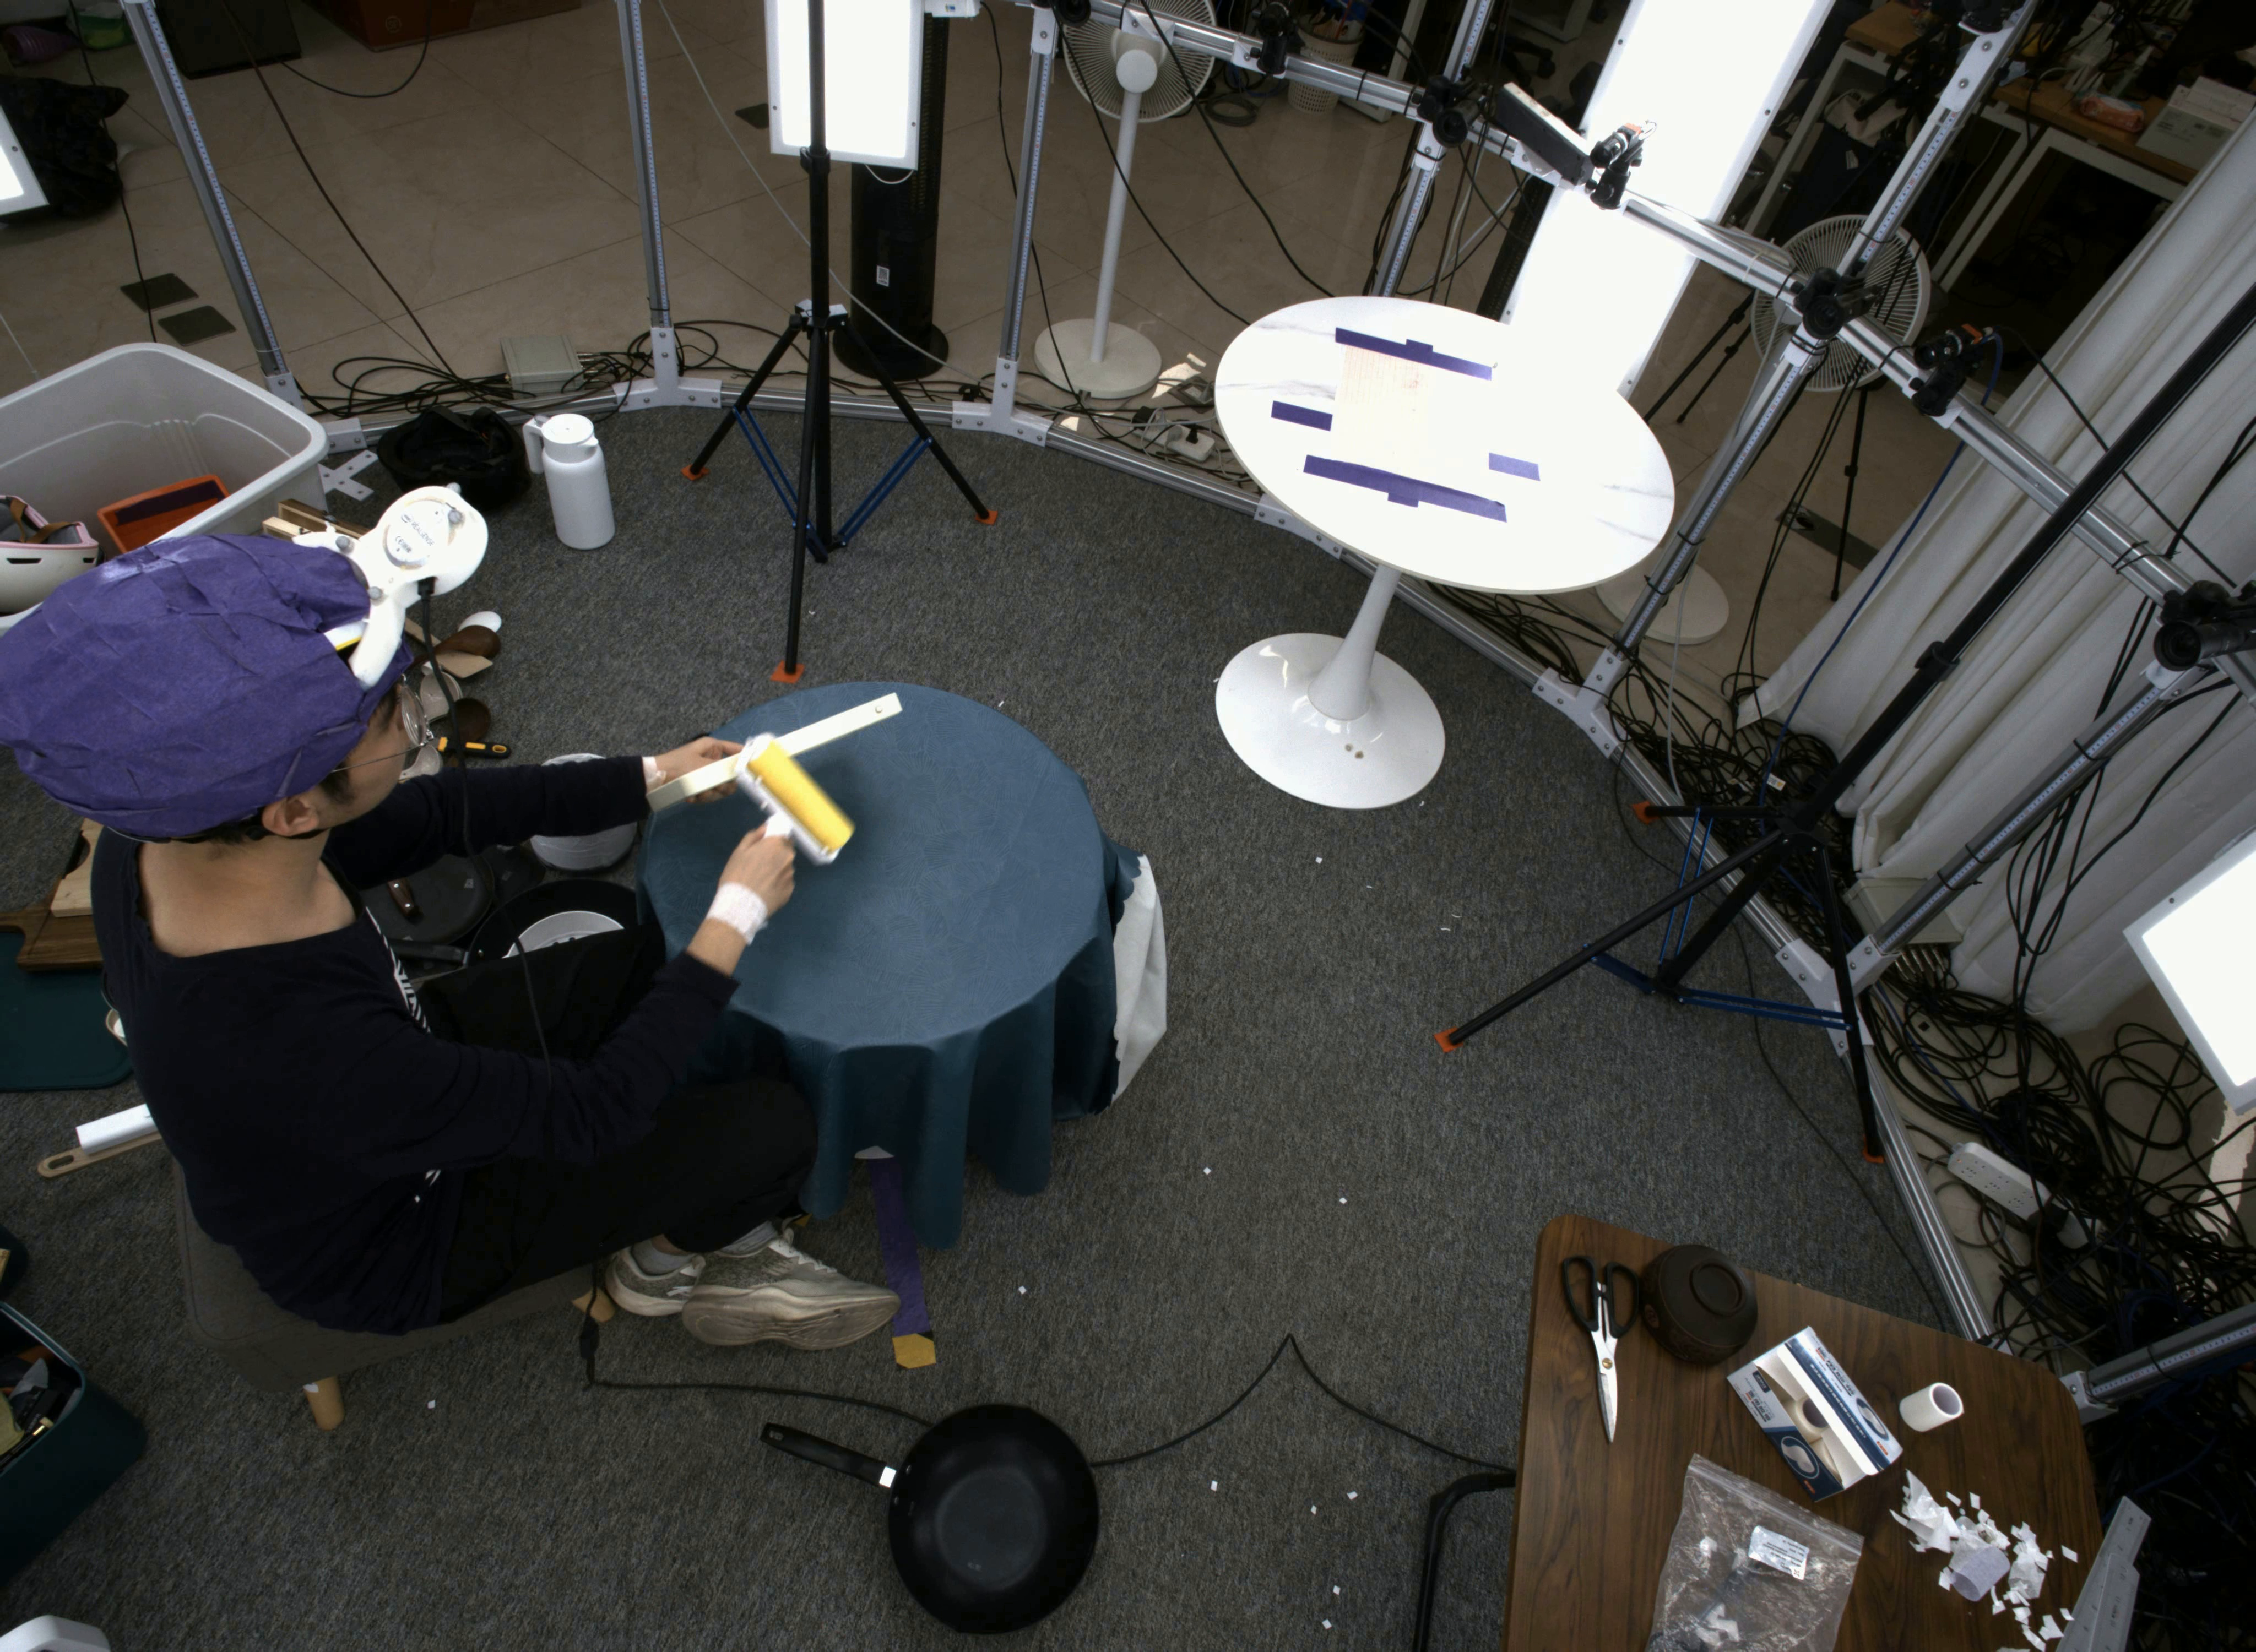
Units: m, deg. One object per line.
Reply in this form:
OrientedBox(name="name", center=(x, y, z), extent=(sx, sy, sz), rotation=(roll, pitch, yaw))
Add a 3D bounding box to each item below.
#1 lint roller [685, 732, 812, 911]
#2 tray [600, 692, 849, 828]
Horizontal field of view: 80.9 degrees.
OrientedBox(name="lint roller", center=(-0.450, 0.012, 1.479), extent=(0.050, 0.181, 0.188), rotation=(-20, 43, 24))
OrientedBox(name="tray", center=(-0.506, -0.083, 1.611), extent=(0.301, 0.187, 0.028), rotation=(-30, 98, -35))
